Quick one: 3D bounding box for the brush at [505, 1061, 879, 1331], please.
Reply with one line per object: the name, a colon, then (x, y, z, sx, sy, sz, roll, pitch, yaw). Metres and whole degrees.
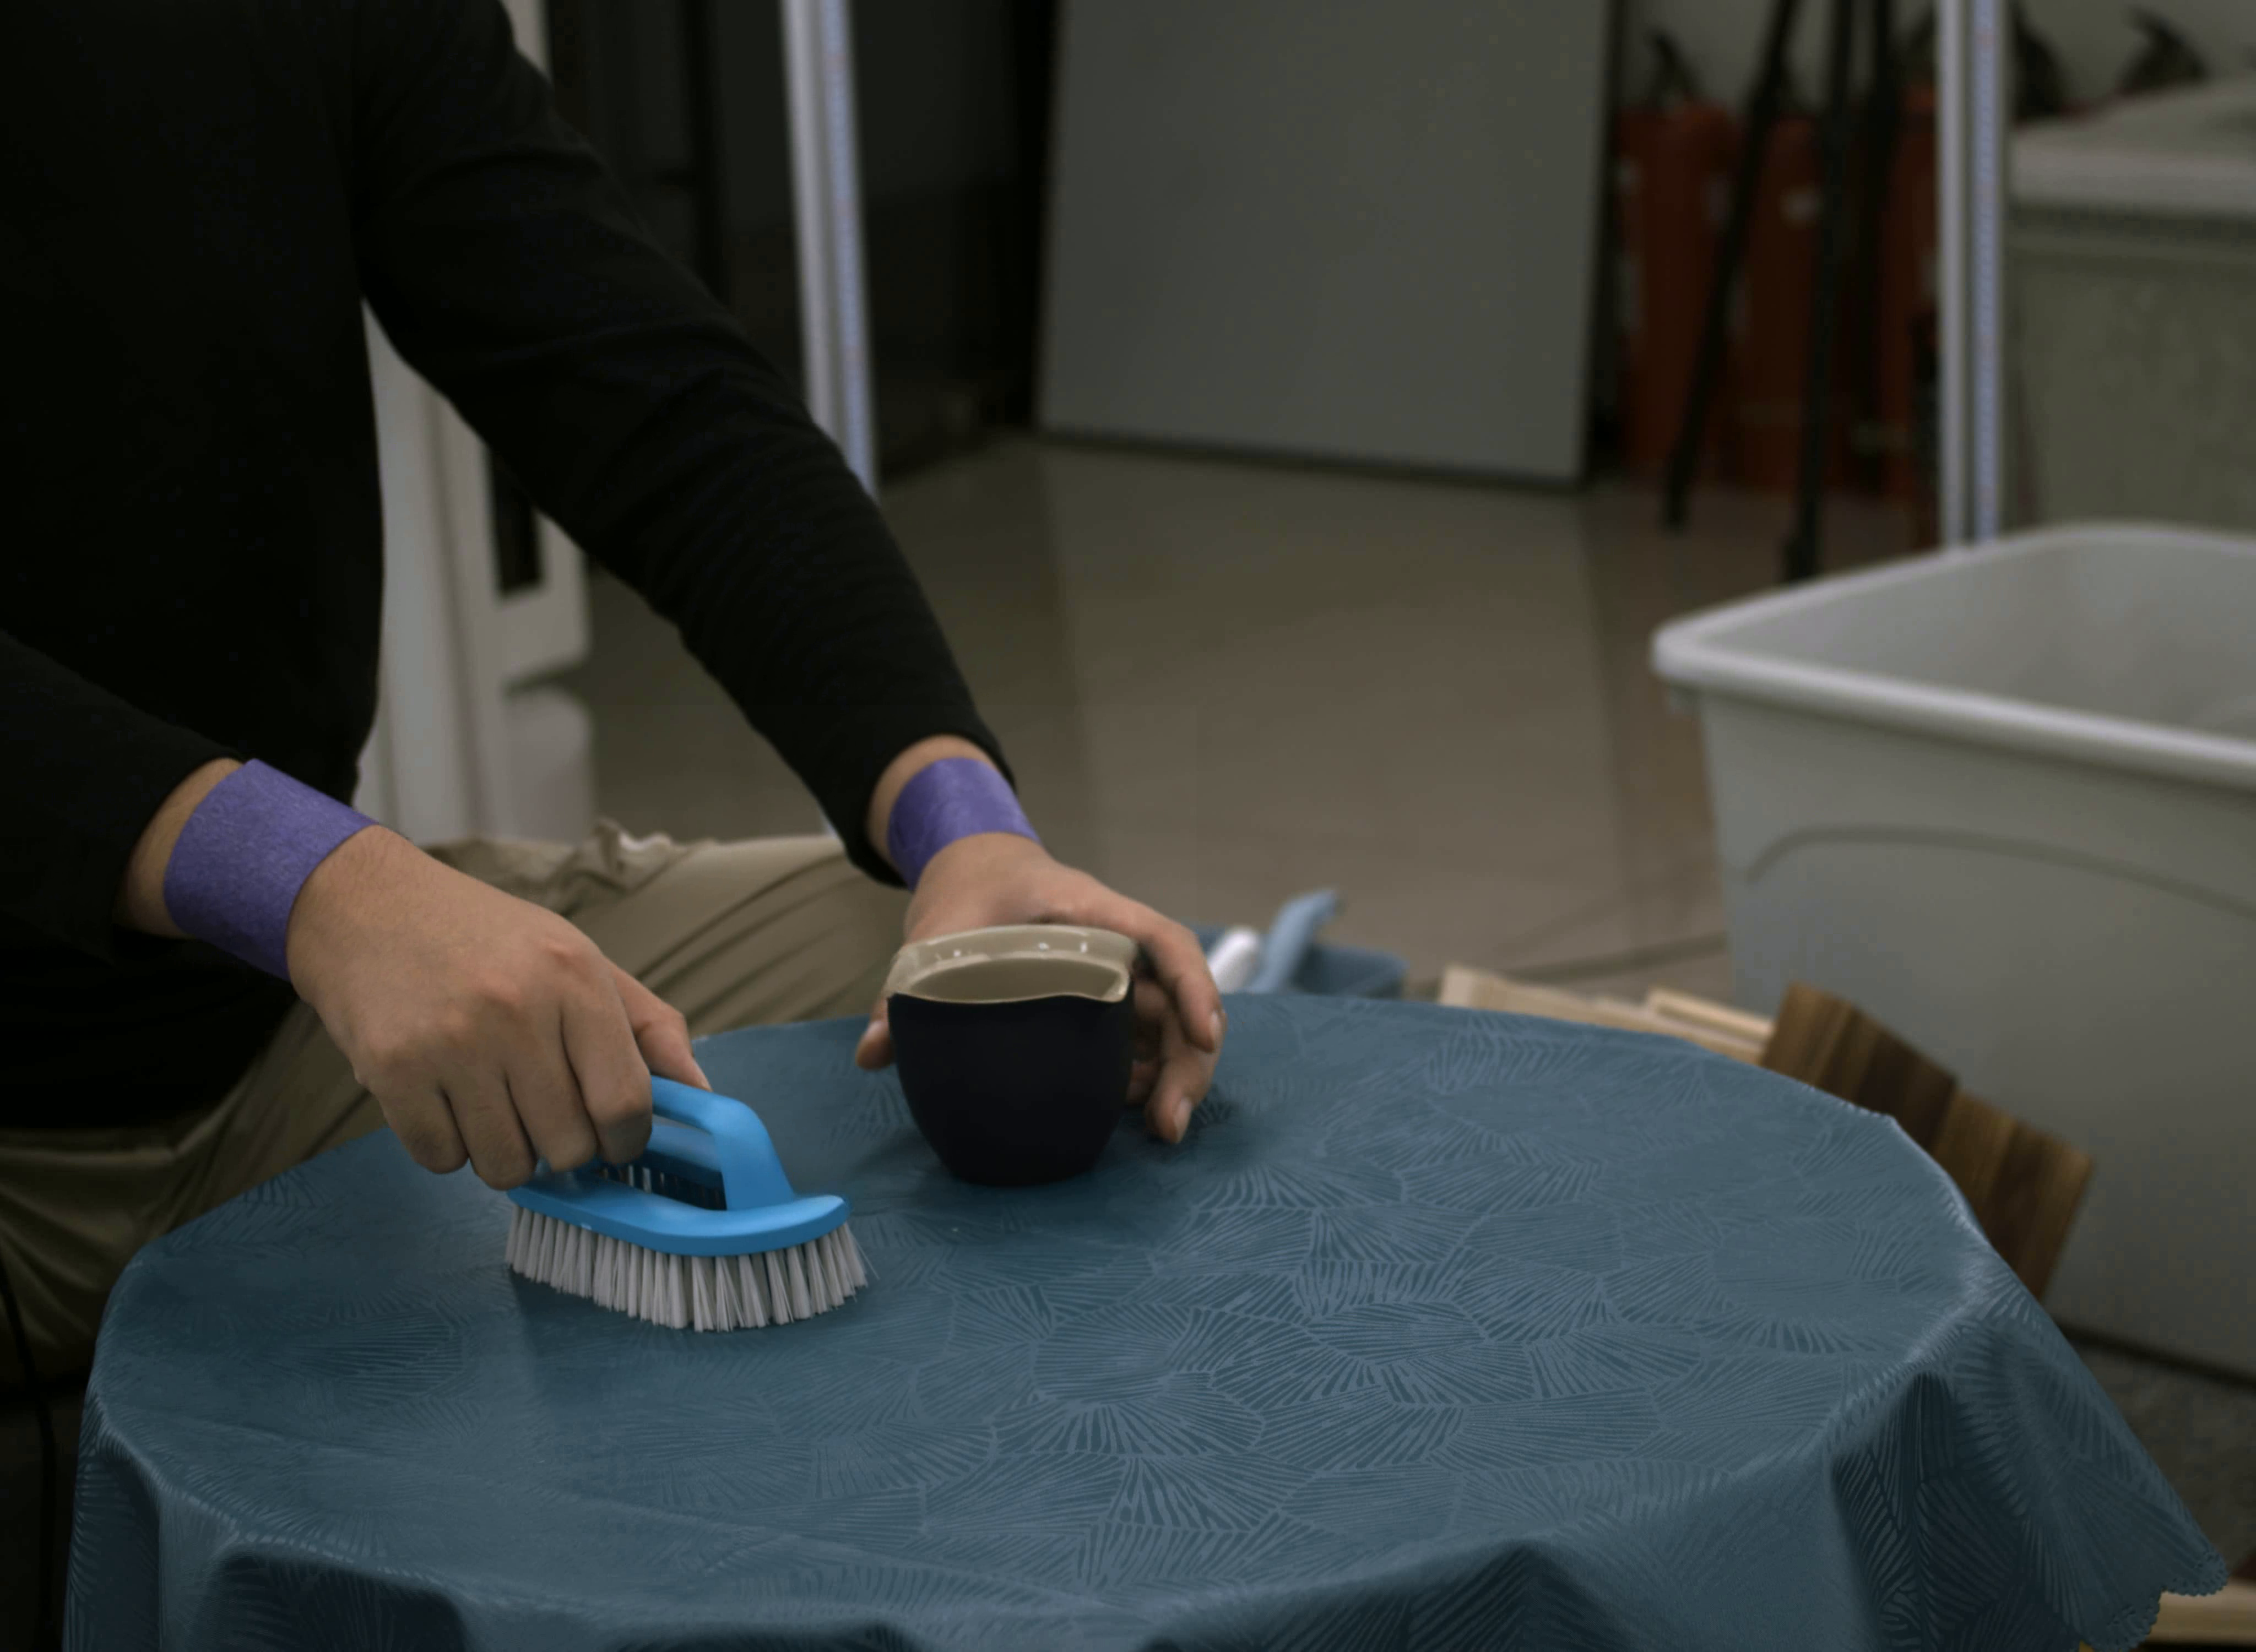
brush: (-0.142, 0.110, 1.714, 0.082, 0.064, 0.143, -19, 19, -36)

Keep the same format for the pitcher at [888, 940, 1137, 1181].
pitcher: (-0.034, 0.078, 1.797, 0.082, 0.072, 0.097, -11, 17, -34)
